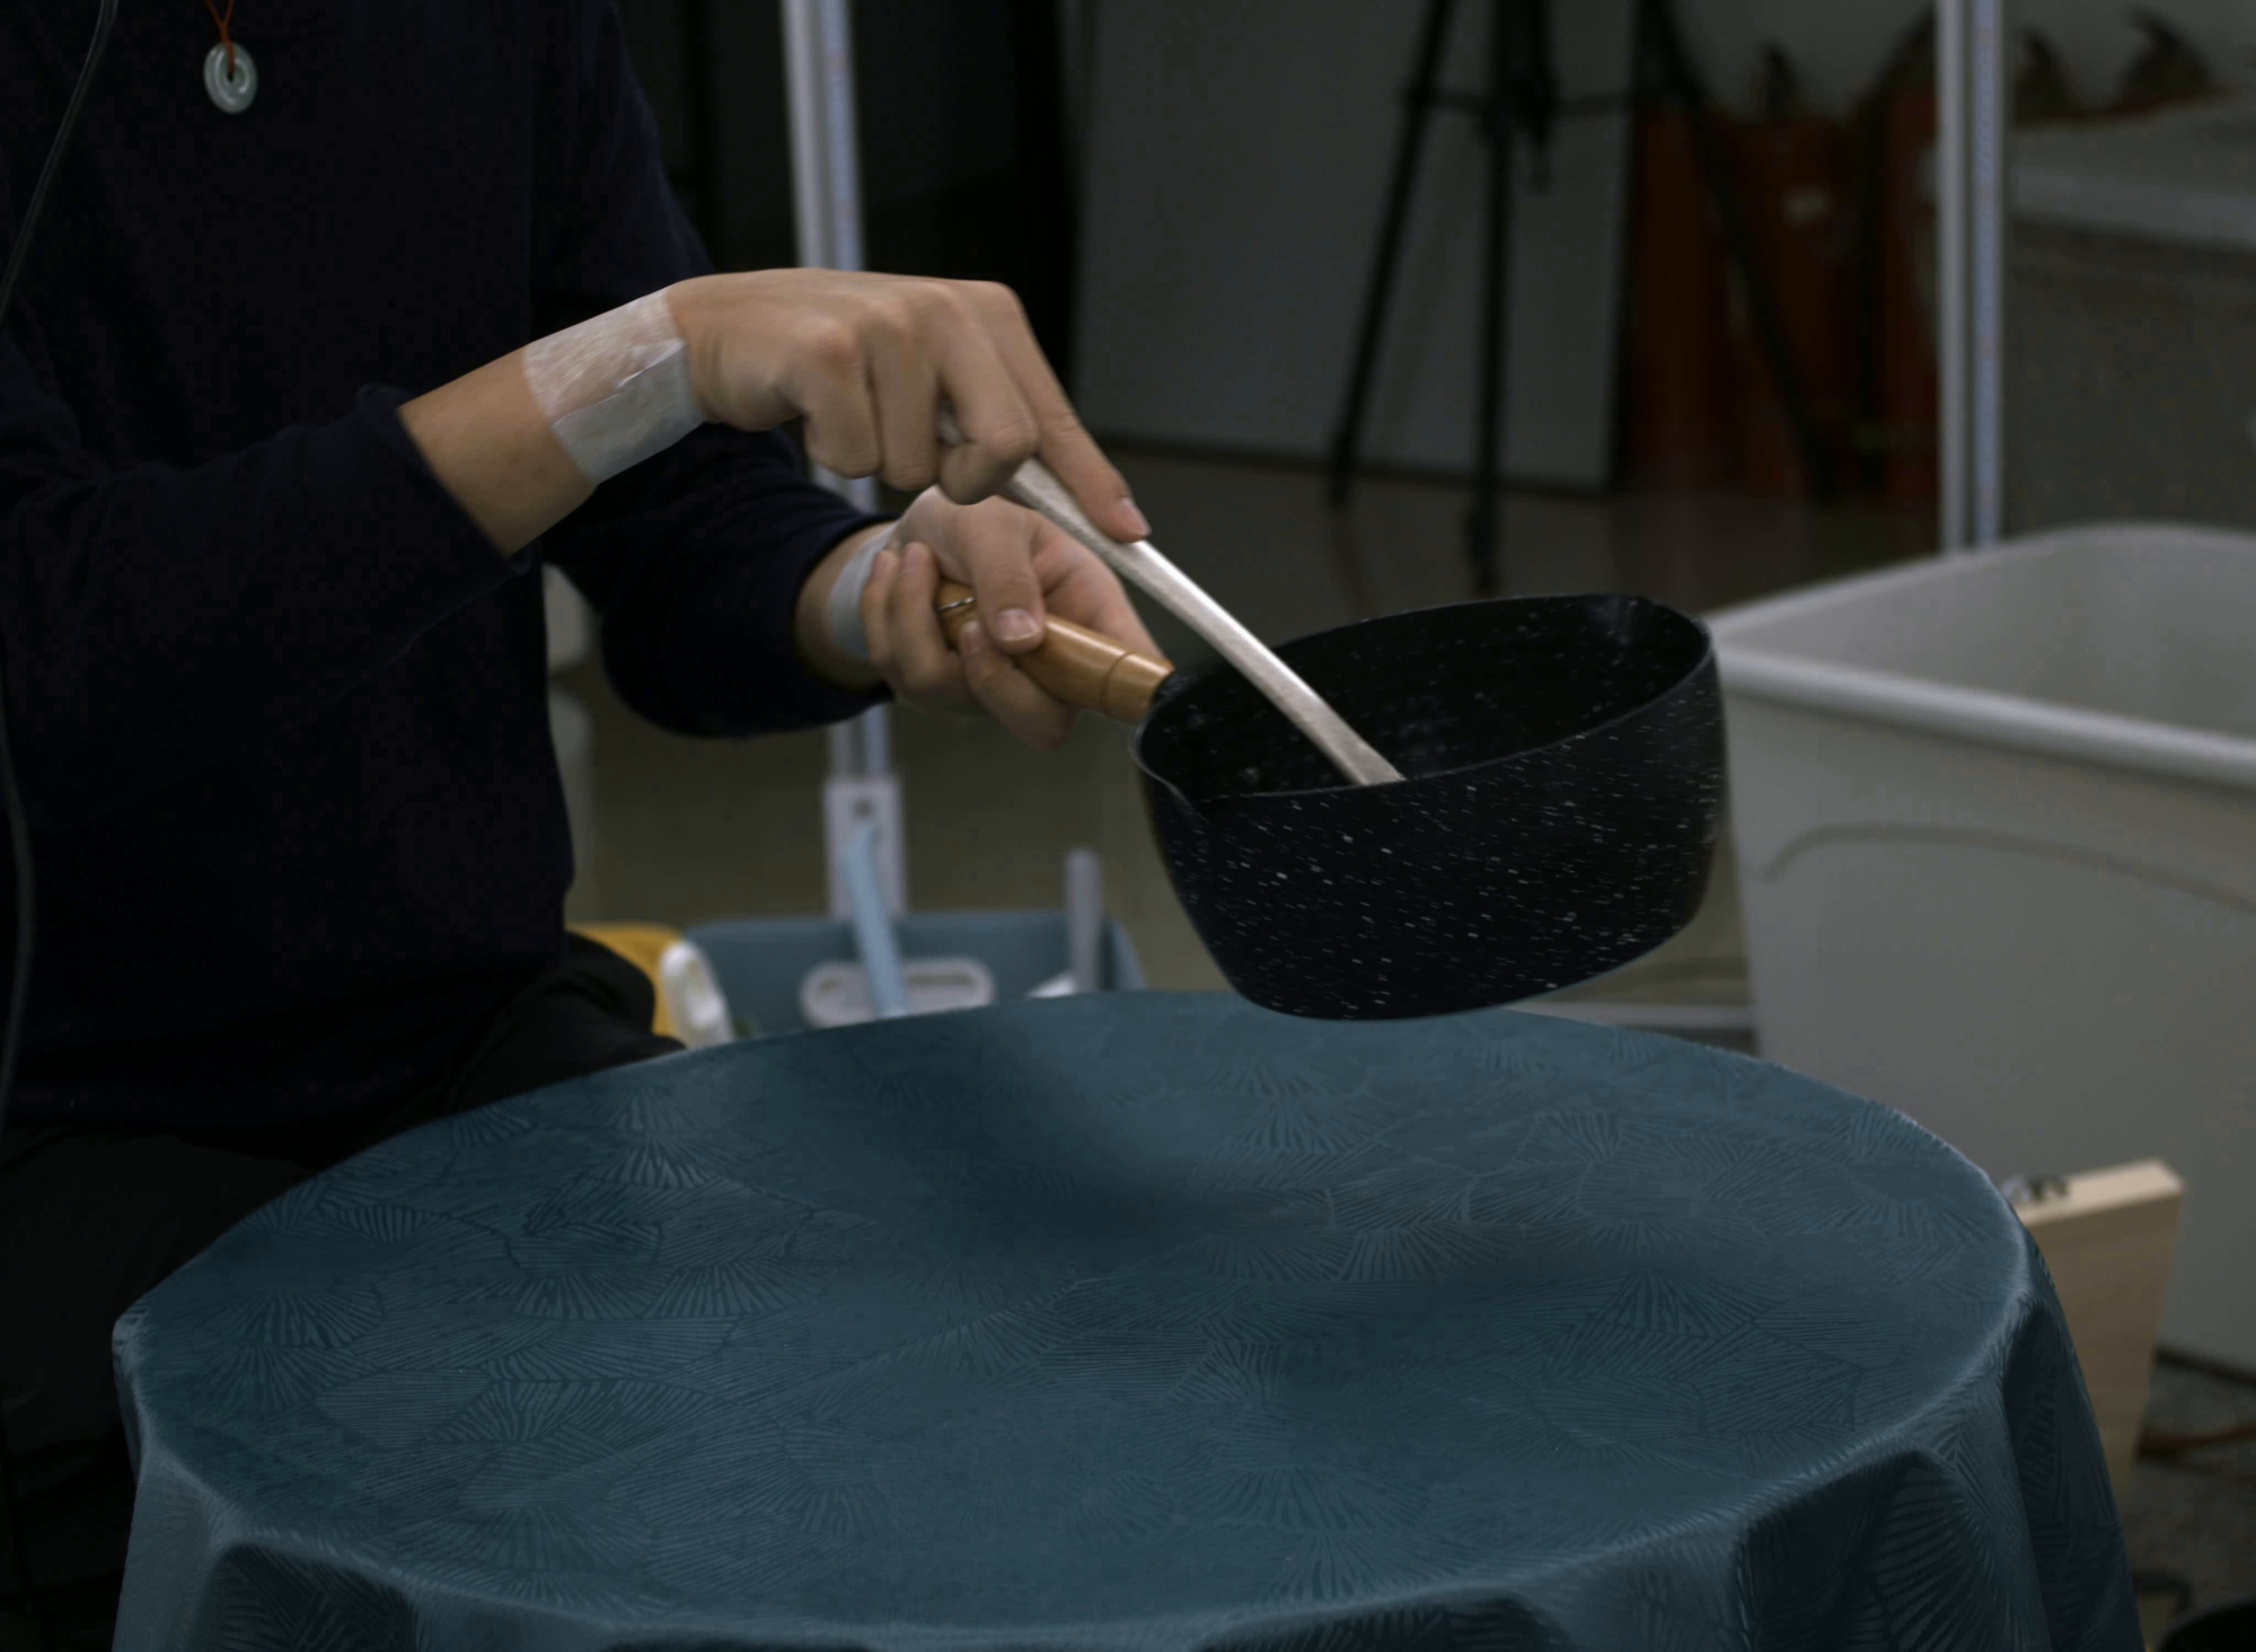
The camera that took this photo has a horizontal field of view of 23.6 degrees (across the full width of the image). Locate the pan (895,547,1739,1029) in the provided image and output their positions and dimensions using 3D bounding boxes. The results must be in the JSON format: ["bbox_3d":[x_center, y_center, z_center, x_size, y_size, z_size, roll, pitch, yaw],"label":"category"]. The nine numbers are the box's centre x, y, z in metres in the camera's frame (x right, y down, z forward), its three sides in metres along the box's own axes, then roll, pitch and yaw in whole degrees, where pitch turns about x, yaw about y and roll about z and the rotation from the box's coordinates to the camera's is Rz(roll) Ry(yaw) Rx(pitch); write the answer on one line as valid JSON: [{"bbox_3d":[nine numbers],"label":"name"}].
[{"bbox_3d":[0.046,-0.024,1.716,0.204,0.109,0.346,-27,23,-37],"label":"pan"}]

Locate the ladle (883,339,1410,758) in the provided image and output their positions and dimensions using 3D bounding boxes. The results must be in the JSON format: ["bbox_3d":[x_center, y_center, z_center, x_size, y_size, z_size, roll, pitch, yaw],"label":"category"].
[{"bbox_3d":[0.045,-0.075,1.655,0.070,0.274,0.089,-46,2,30],"label":"ladle"}]
